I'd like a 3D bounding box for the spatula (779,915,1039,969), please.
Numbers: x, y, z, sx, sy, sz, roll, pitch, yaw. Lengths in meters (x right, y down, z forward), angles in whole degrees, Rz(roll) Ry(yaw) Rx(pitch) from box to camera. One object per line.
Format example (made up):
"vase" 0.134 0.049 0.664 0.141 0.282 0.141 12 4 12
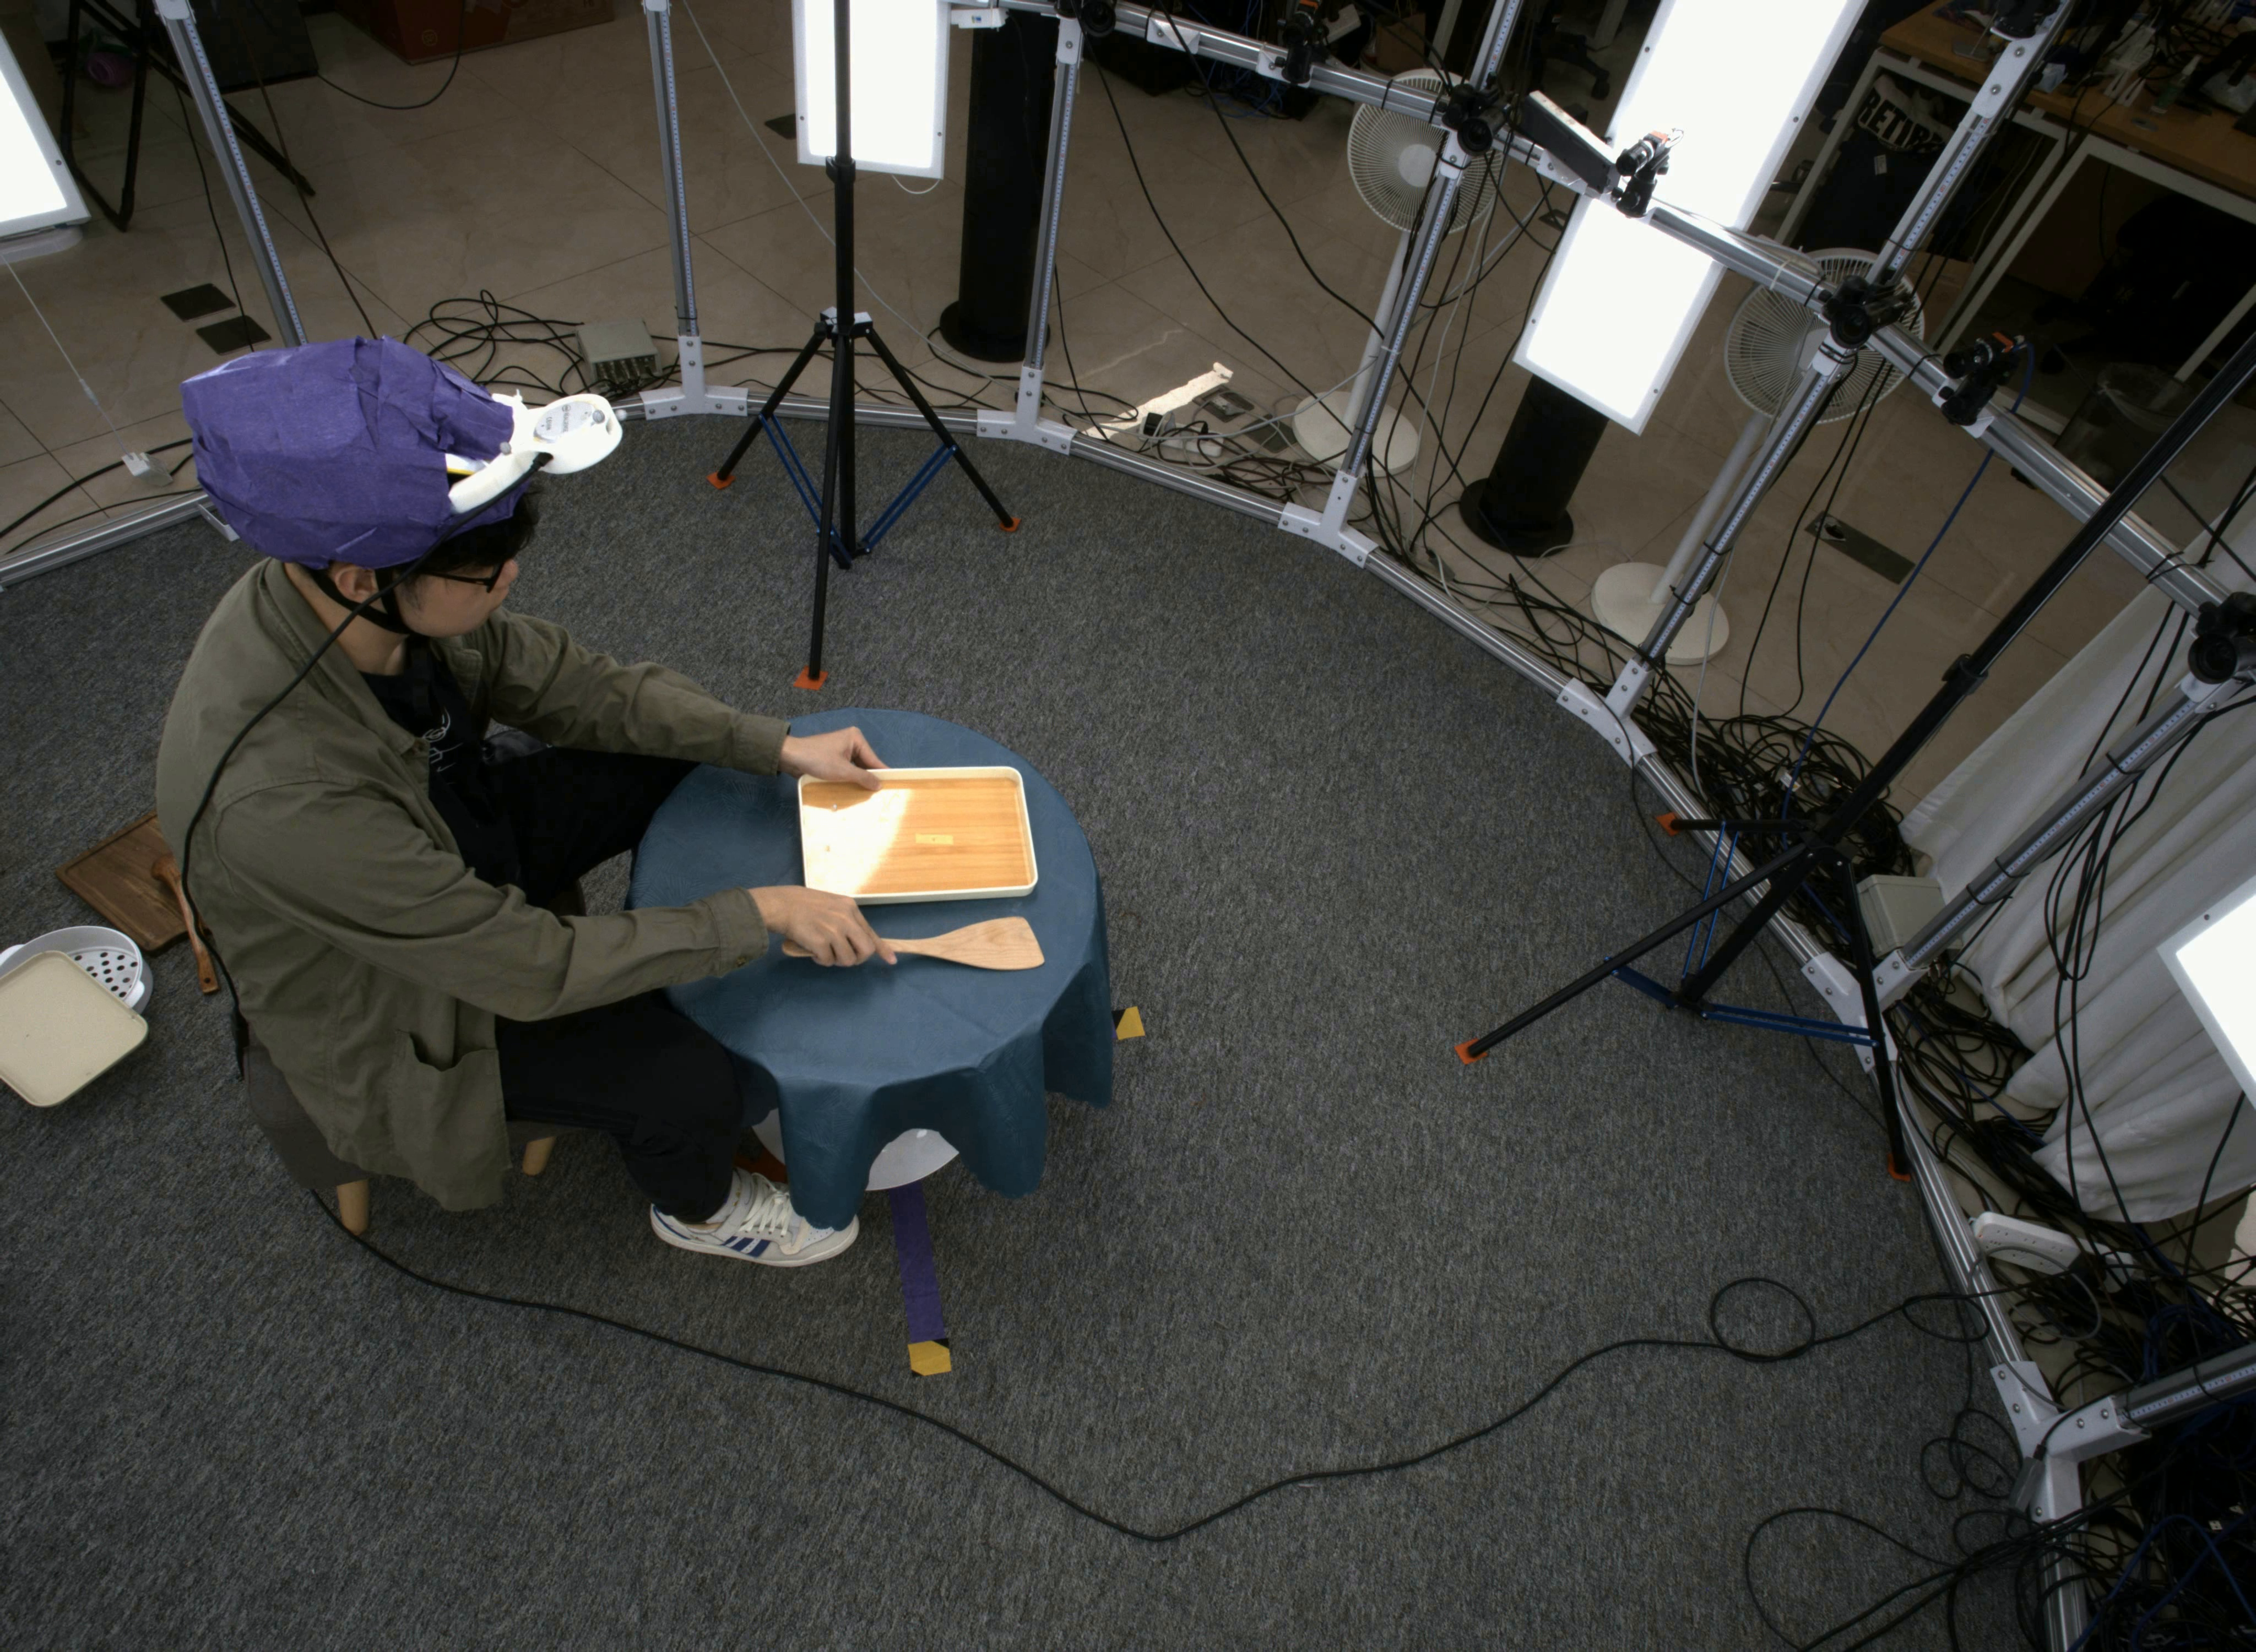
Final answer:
"spatula" -0.272 0.147 1.633 0.331 0.017 0.078 1 53 -27

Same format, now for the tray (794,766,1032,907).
"tray" -0.285 0.010 1.723 0.301 0.028 0.188 -2 61 -18
